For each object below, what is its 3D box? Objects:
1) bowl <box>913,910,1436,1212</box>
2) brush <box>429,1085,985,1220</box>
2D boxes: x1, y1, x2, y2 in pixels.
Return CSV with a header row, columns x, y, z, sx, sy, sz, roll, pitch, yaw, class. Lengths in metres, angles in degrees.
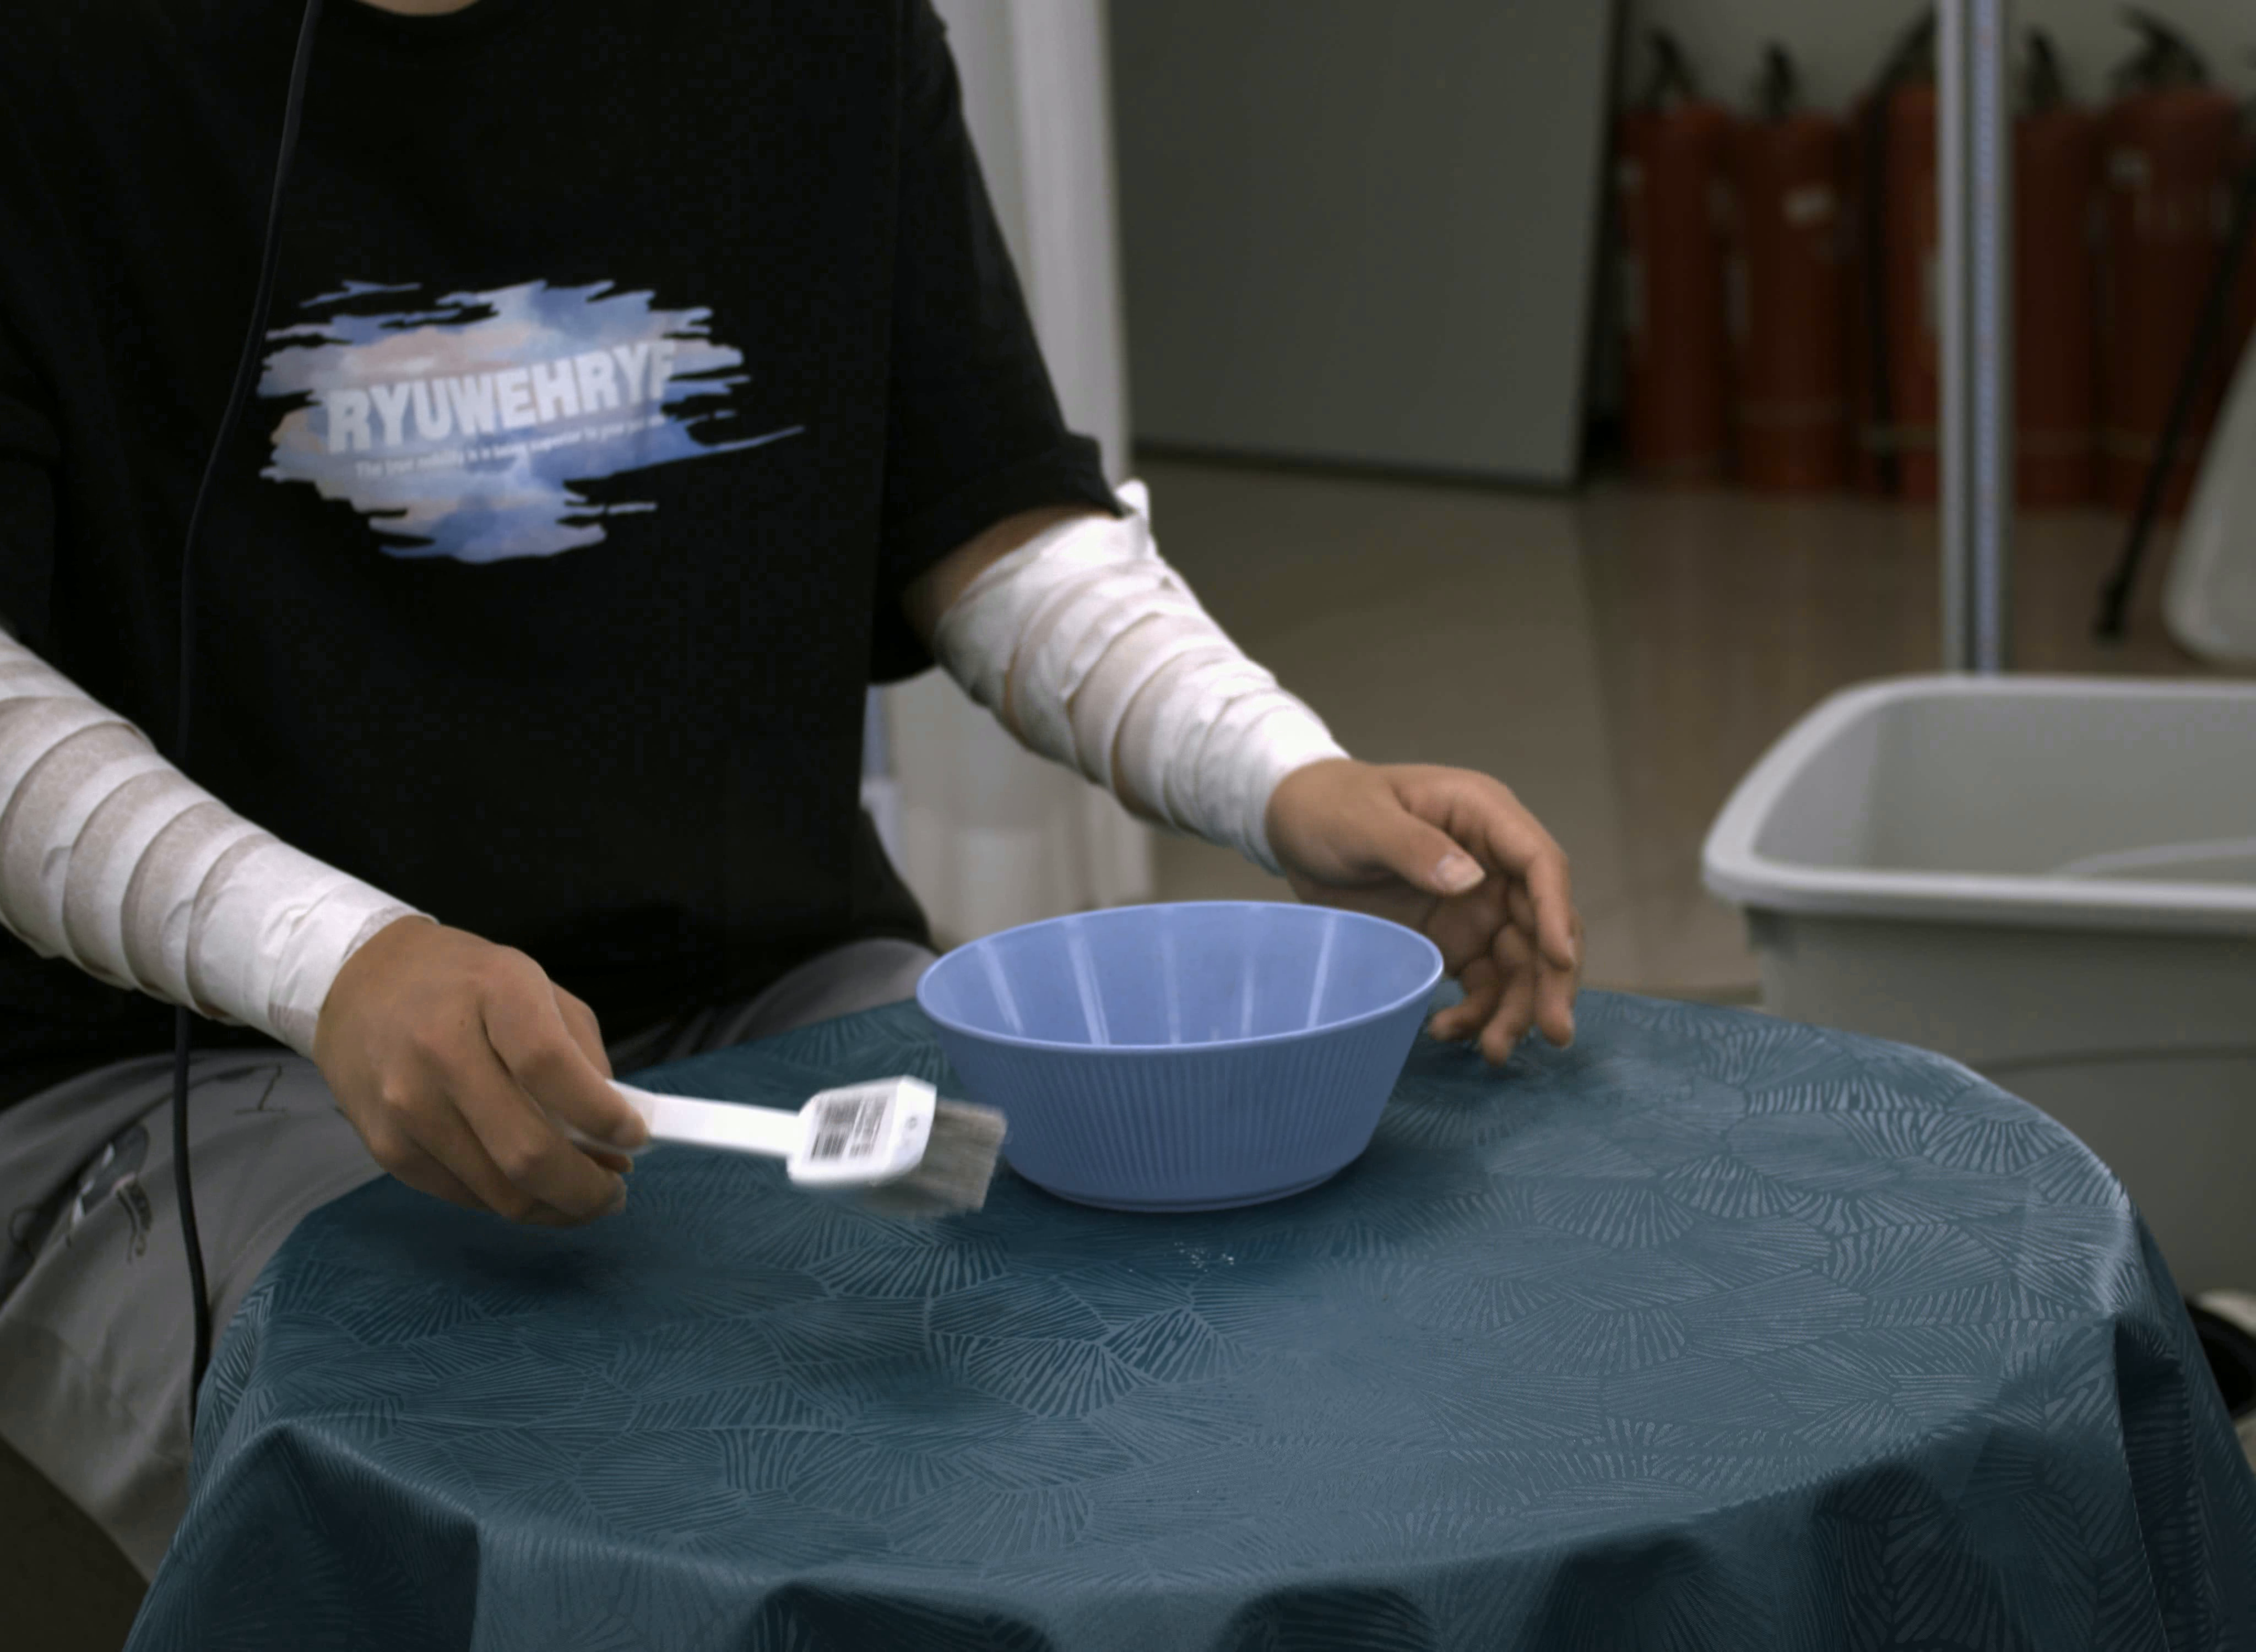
x,y,z,sx,sy,sz,roll,pitch,yaw,class
0.017,0.080,1.788,0.174,0.071,0.176,-4,13,0,bowl
-0.131,0.100,1.690,0.049,0.035,0.246,15,-11,-41,brush
